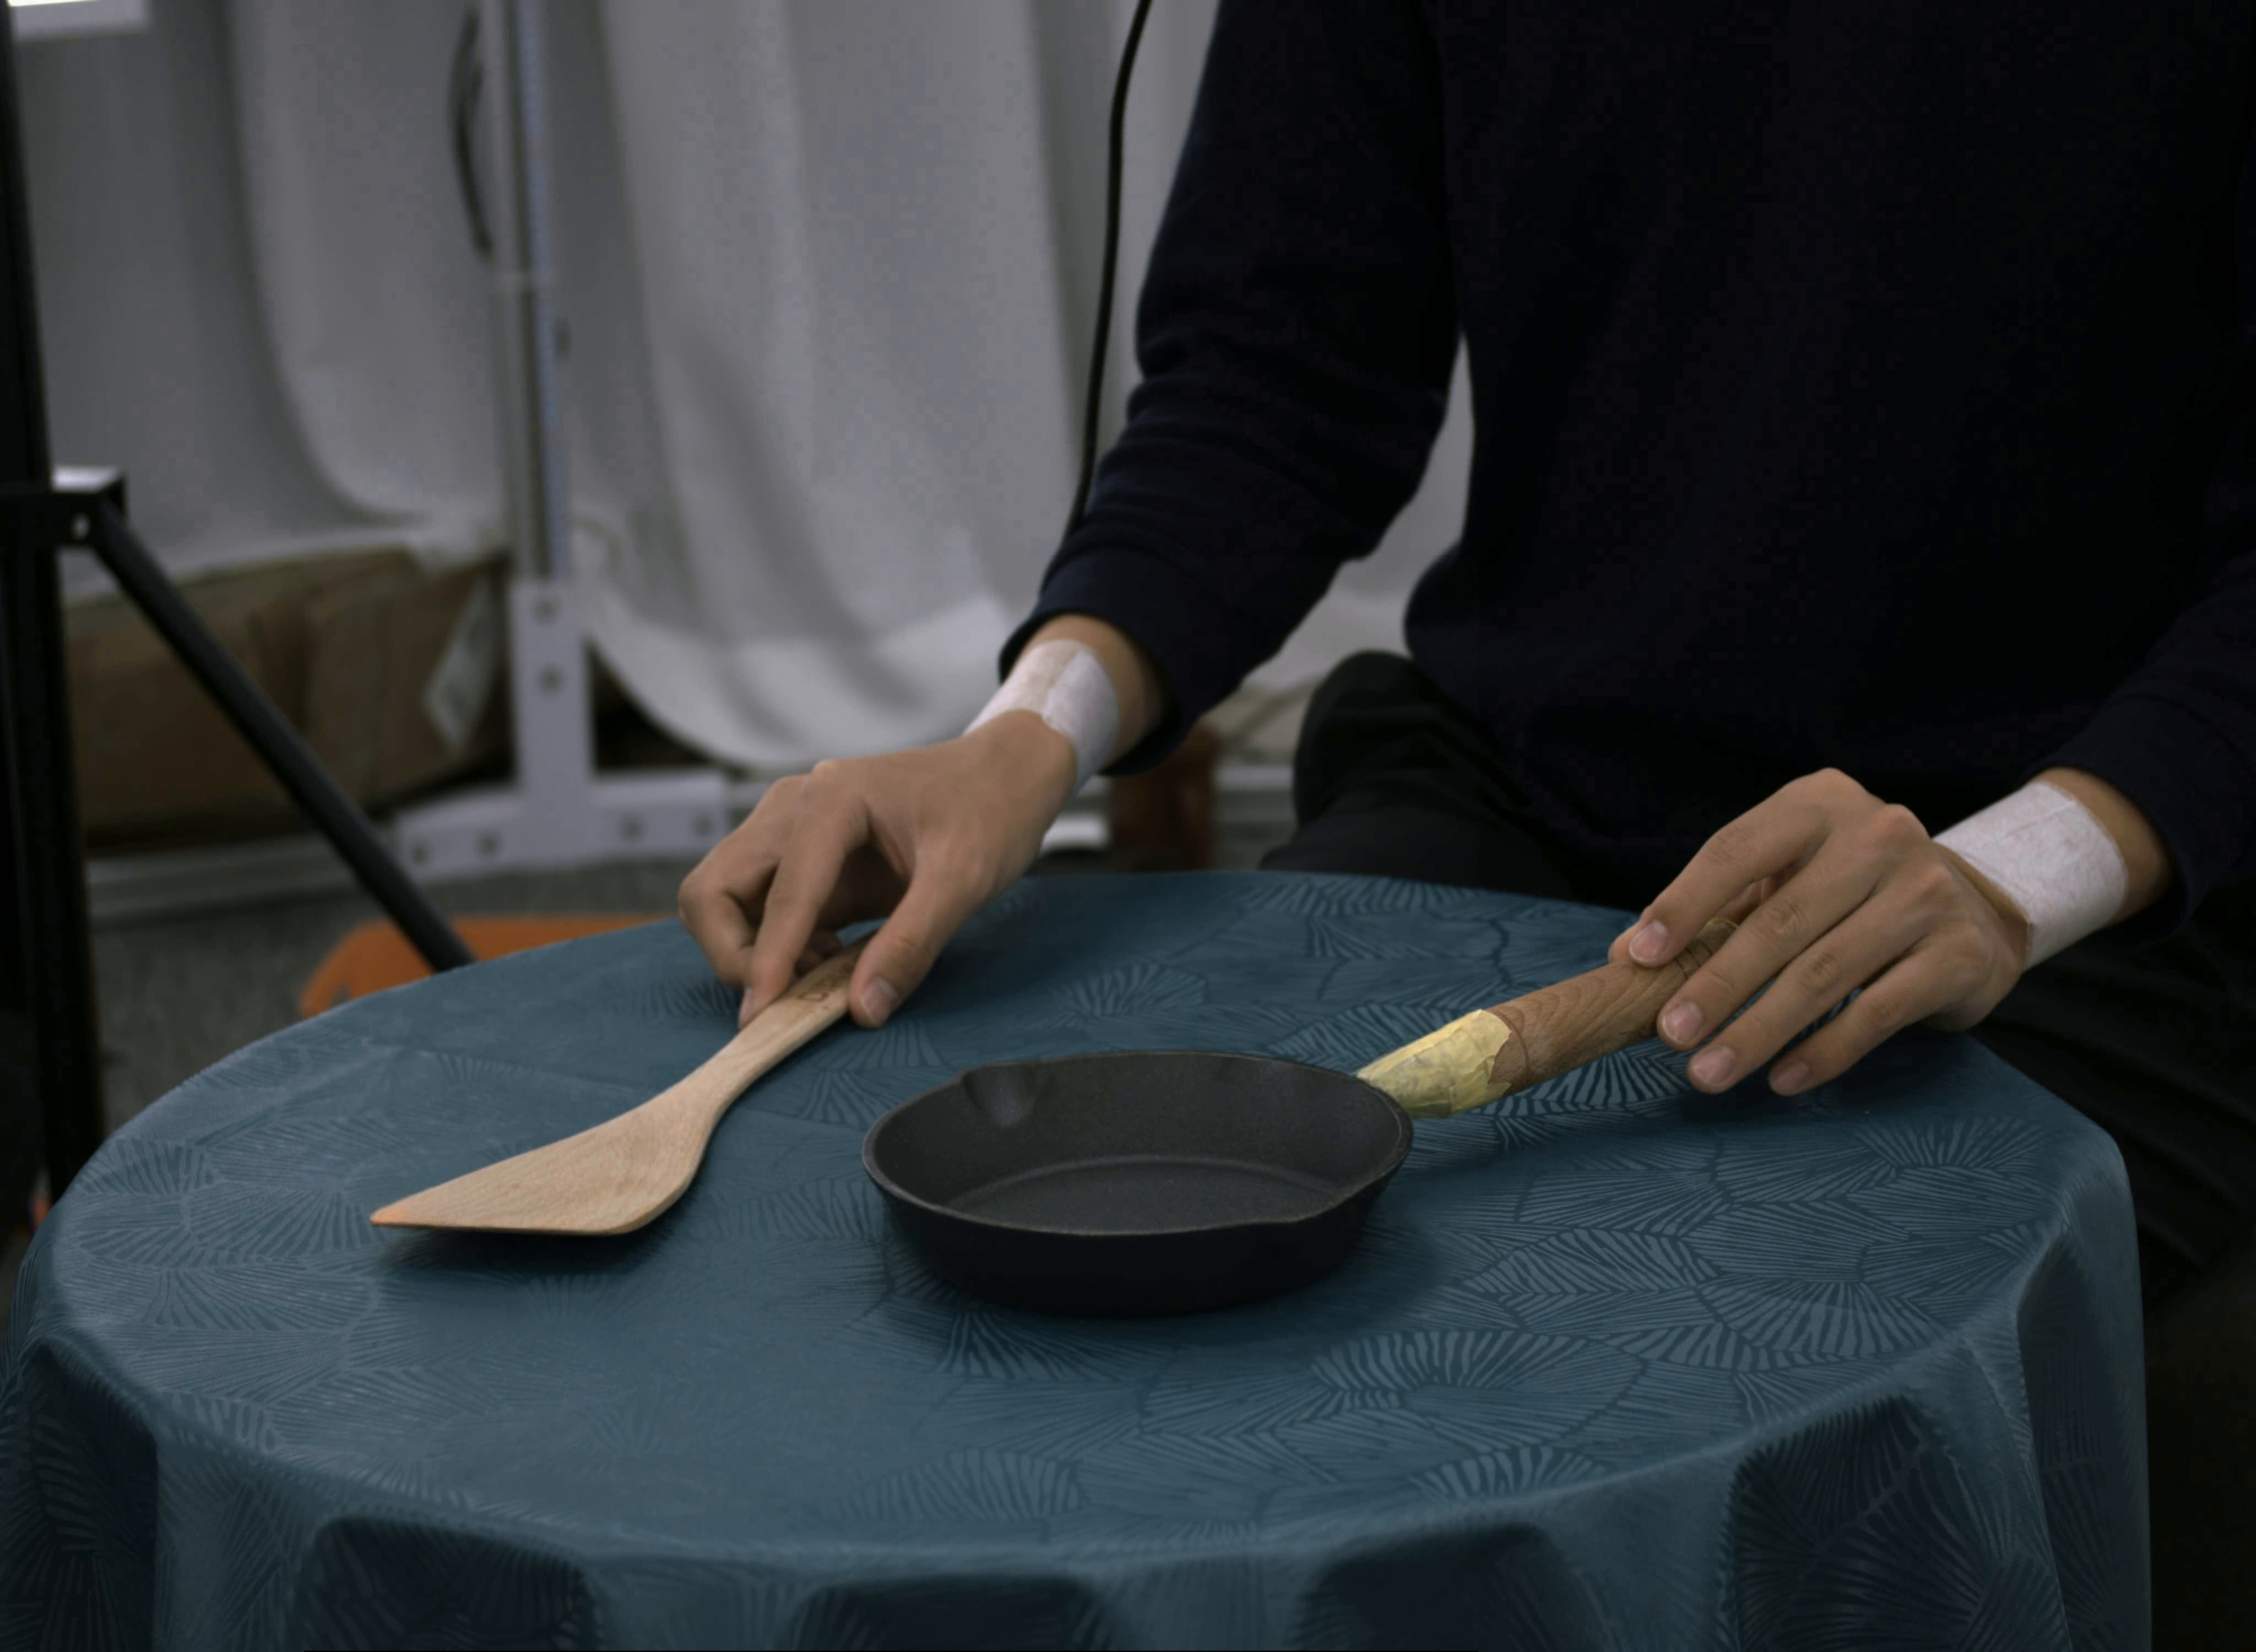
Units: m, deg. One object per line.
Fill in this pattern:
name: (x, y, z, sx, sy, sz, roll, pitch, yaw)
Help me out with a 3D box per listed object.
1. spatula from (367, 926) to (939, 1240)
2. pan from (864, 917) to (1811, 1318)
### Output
spatula: (-0.128, 0.077, 1.657, 0.081, 0.016, 0.323, 3, 17, 21)
pan: (0.074, 0.081, 1.550, 0.317, 0.049, 0.172, -13, 19, -28)
